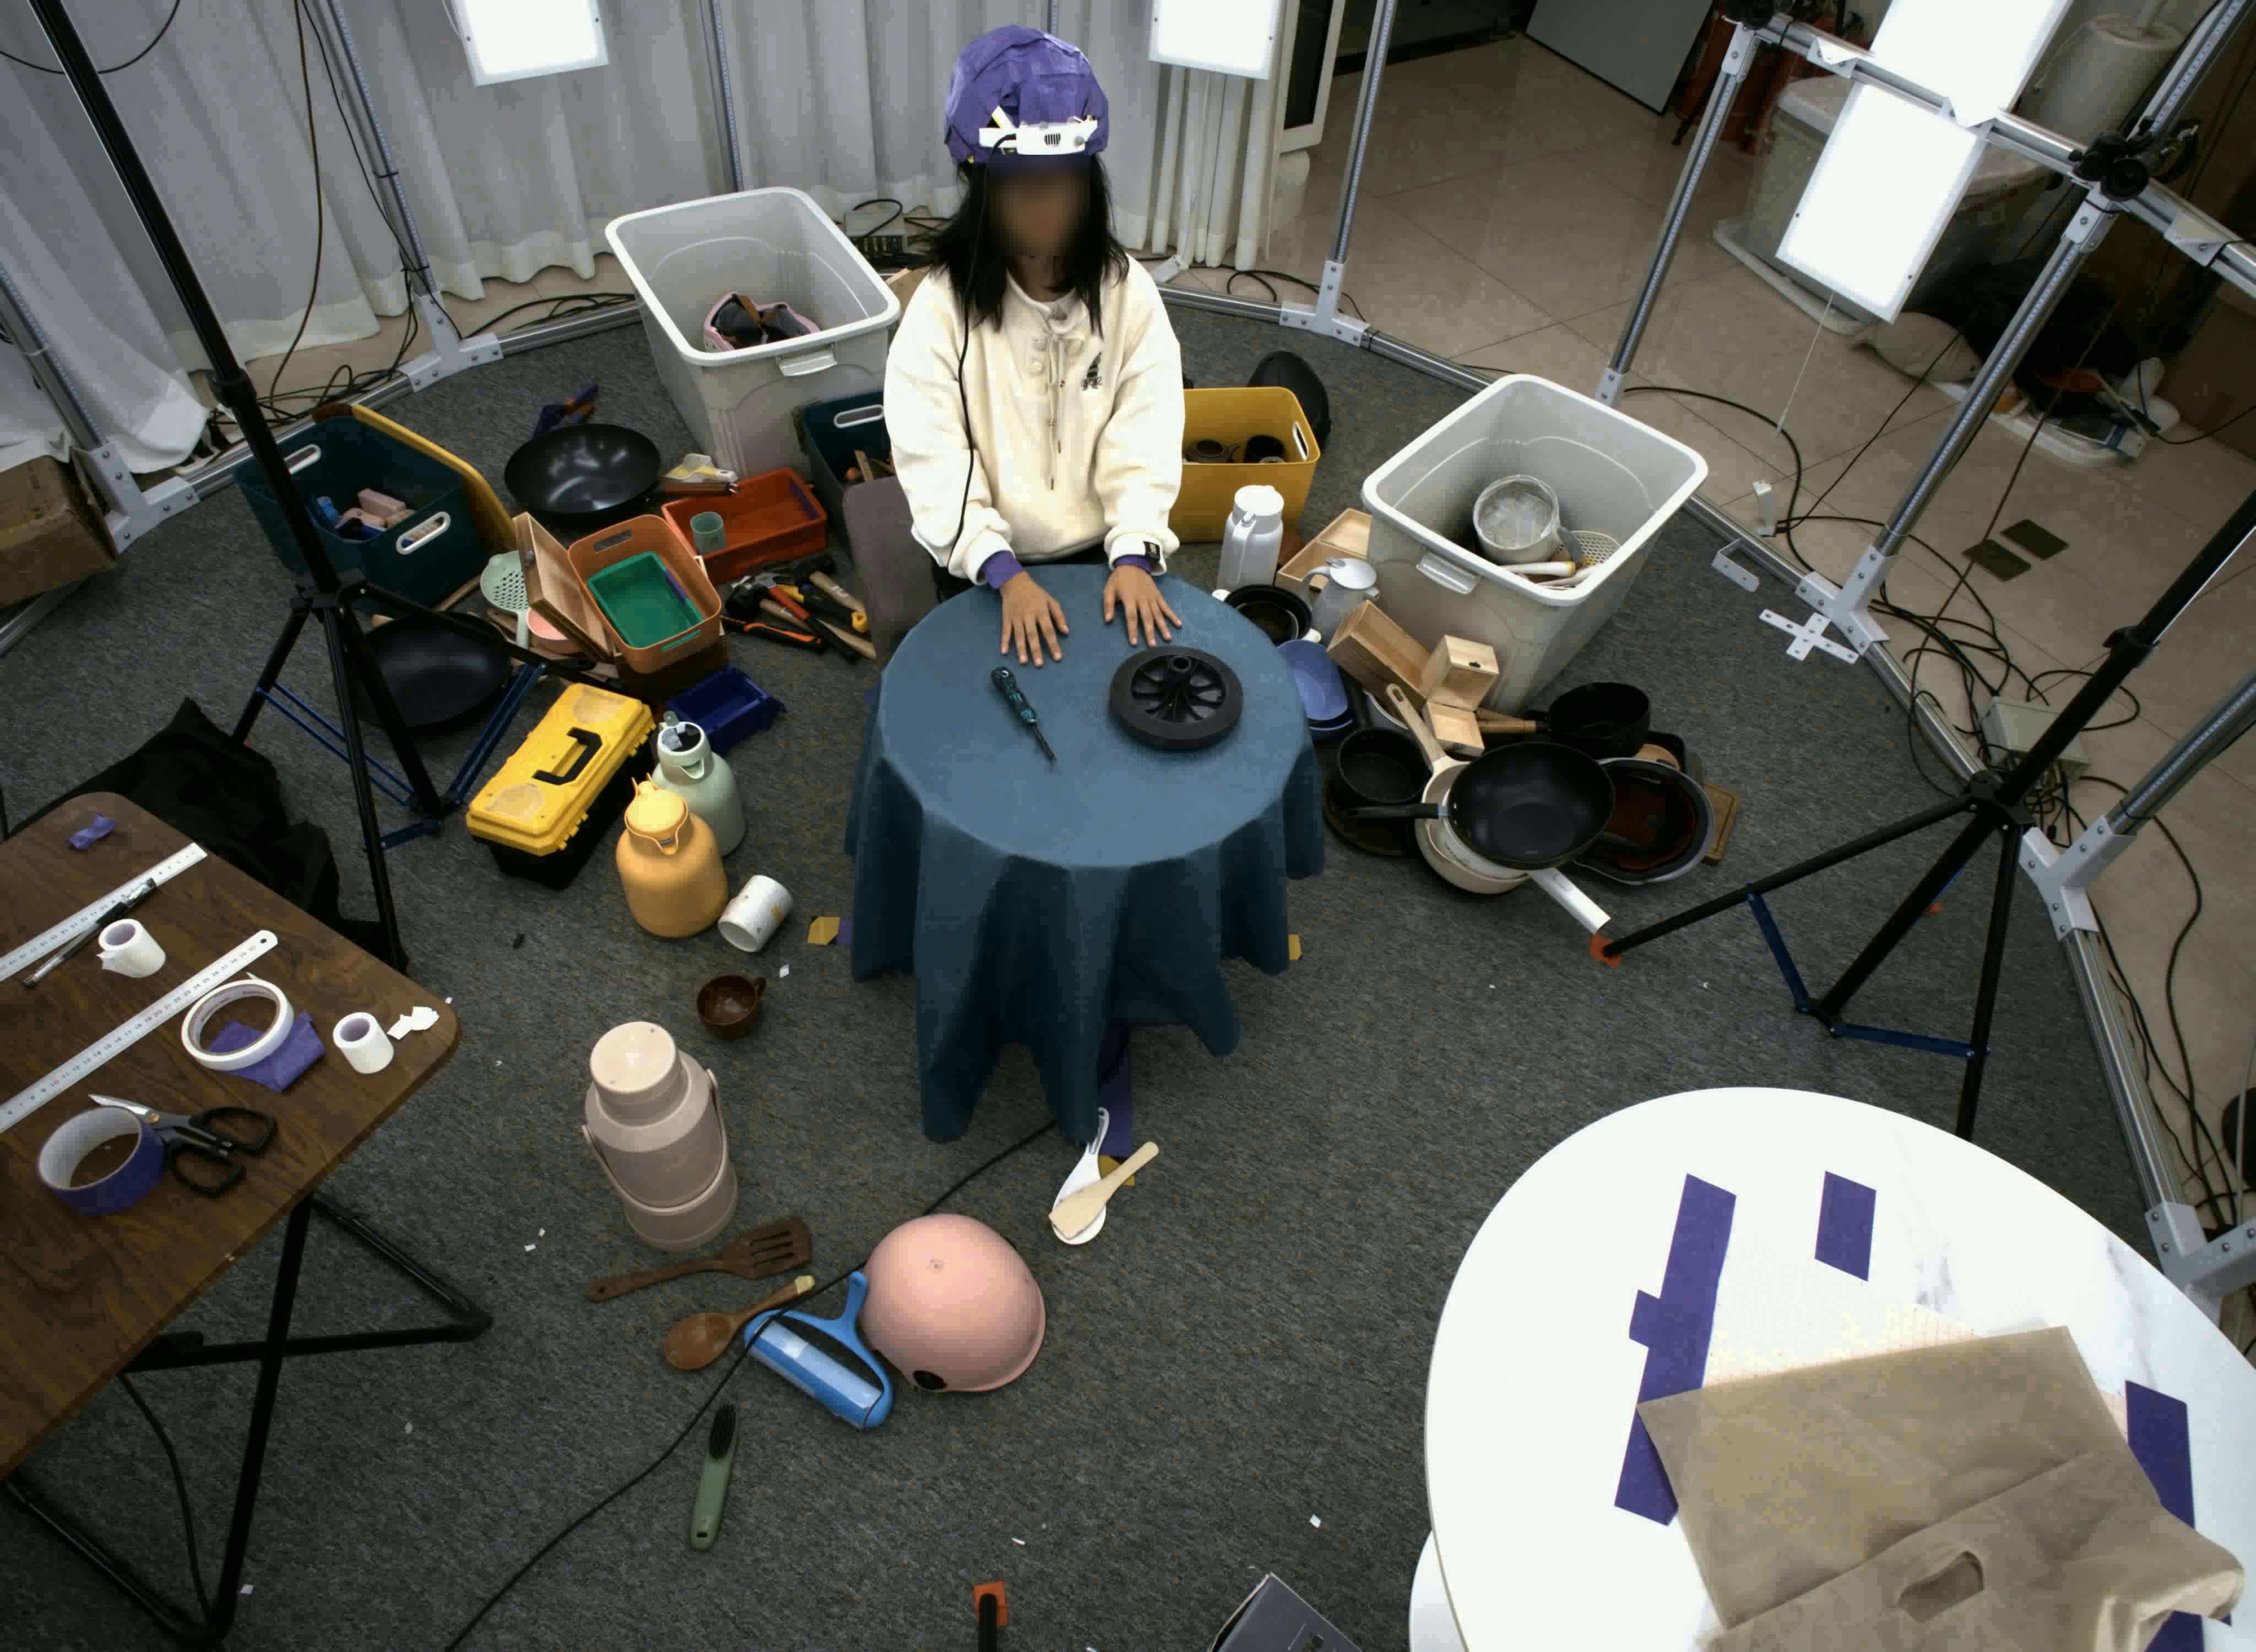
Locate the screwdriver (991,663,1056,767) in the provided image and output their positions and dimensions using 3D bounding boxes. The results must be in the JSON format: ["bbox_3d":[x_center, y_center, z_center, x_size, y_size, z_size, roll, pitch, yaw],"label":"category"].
[{"bbox_3d":[-0.142,-0.152,1.779,0.034,0.033,0.194,-19,58,-20],"label":"screwdriver"}]

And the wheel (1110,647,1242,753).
[{"bbox_3d":[0.069,-0.193,1.794,0.187,0.077,0.194,5,51,1],"label":"wheel"}]
